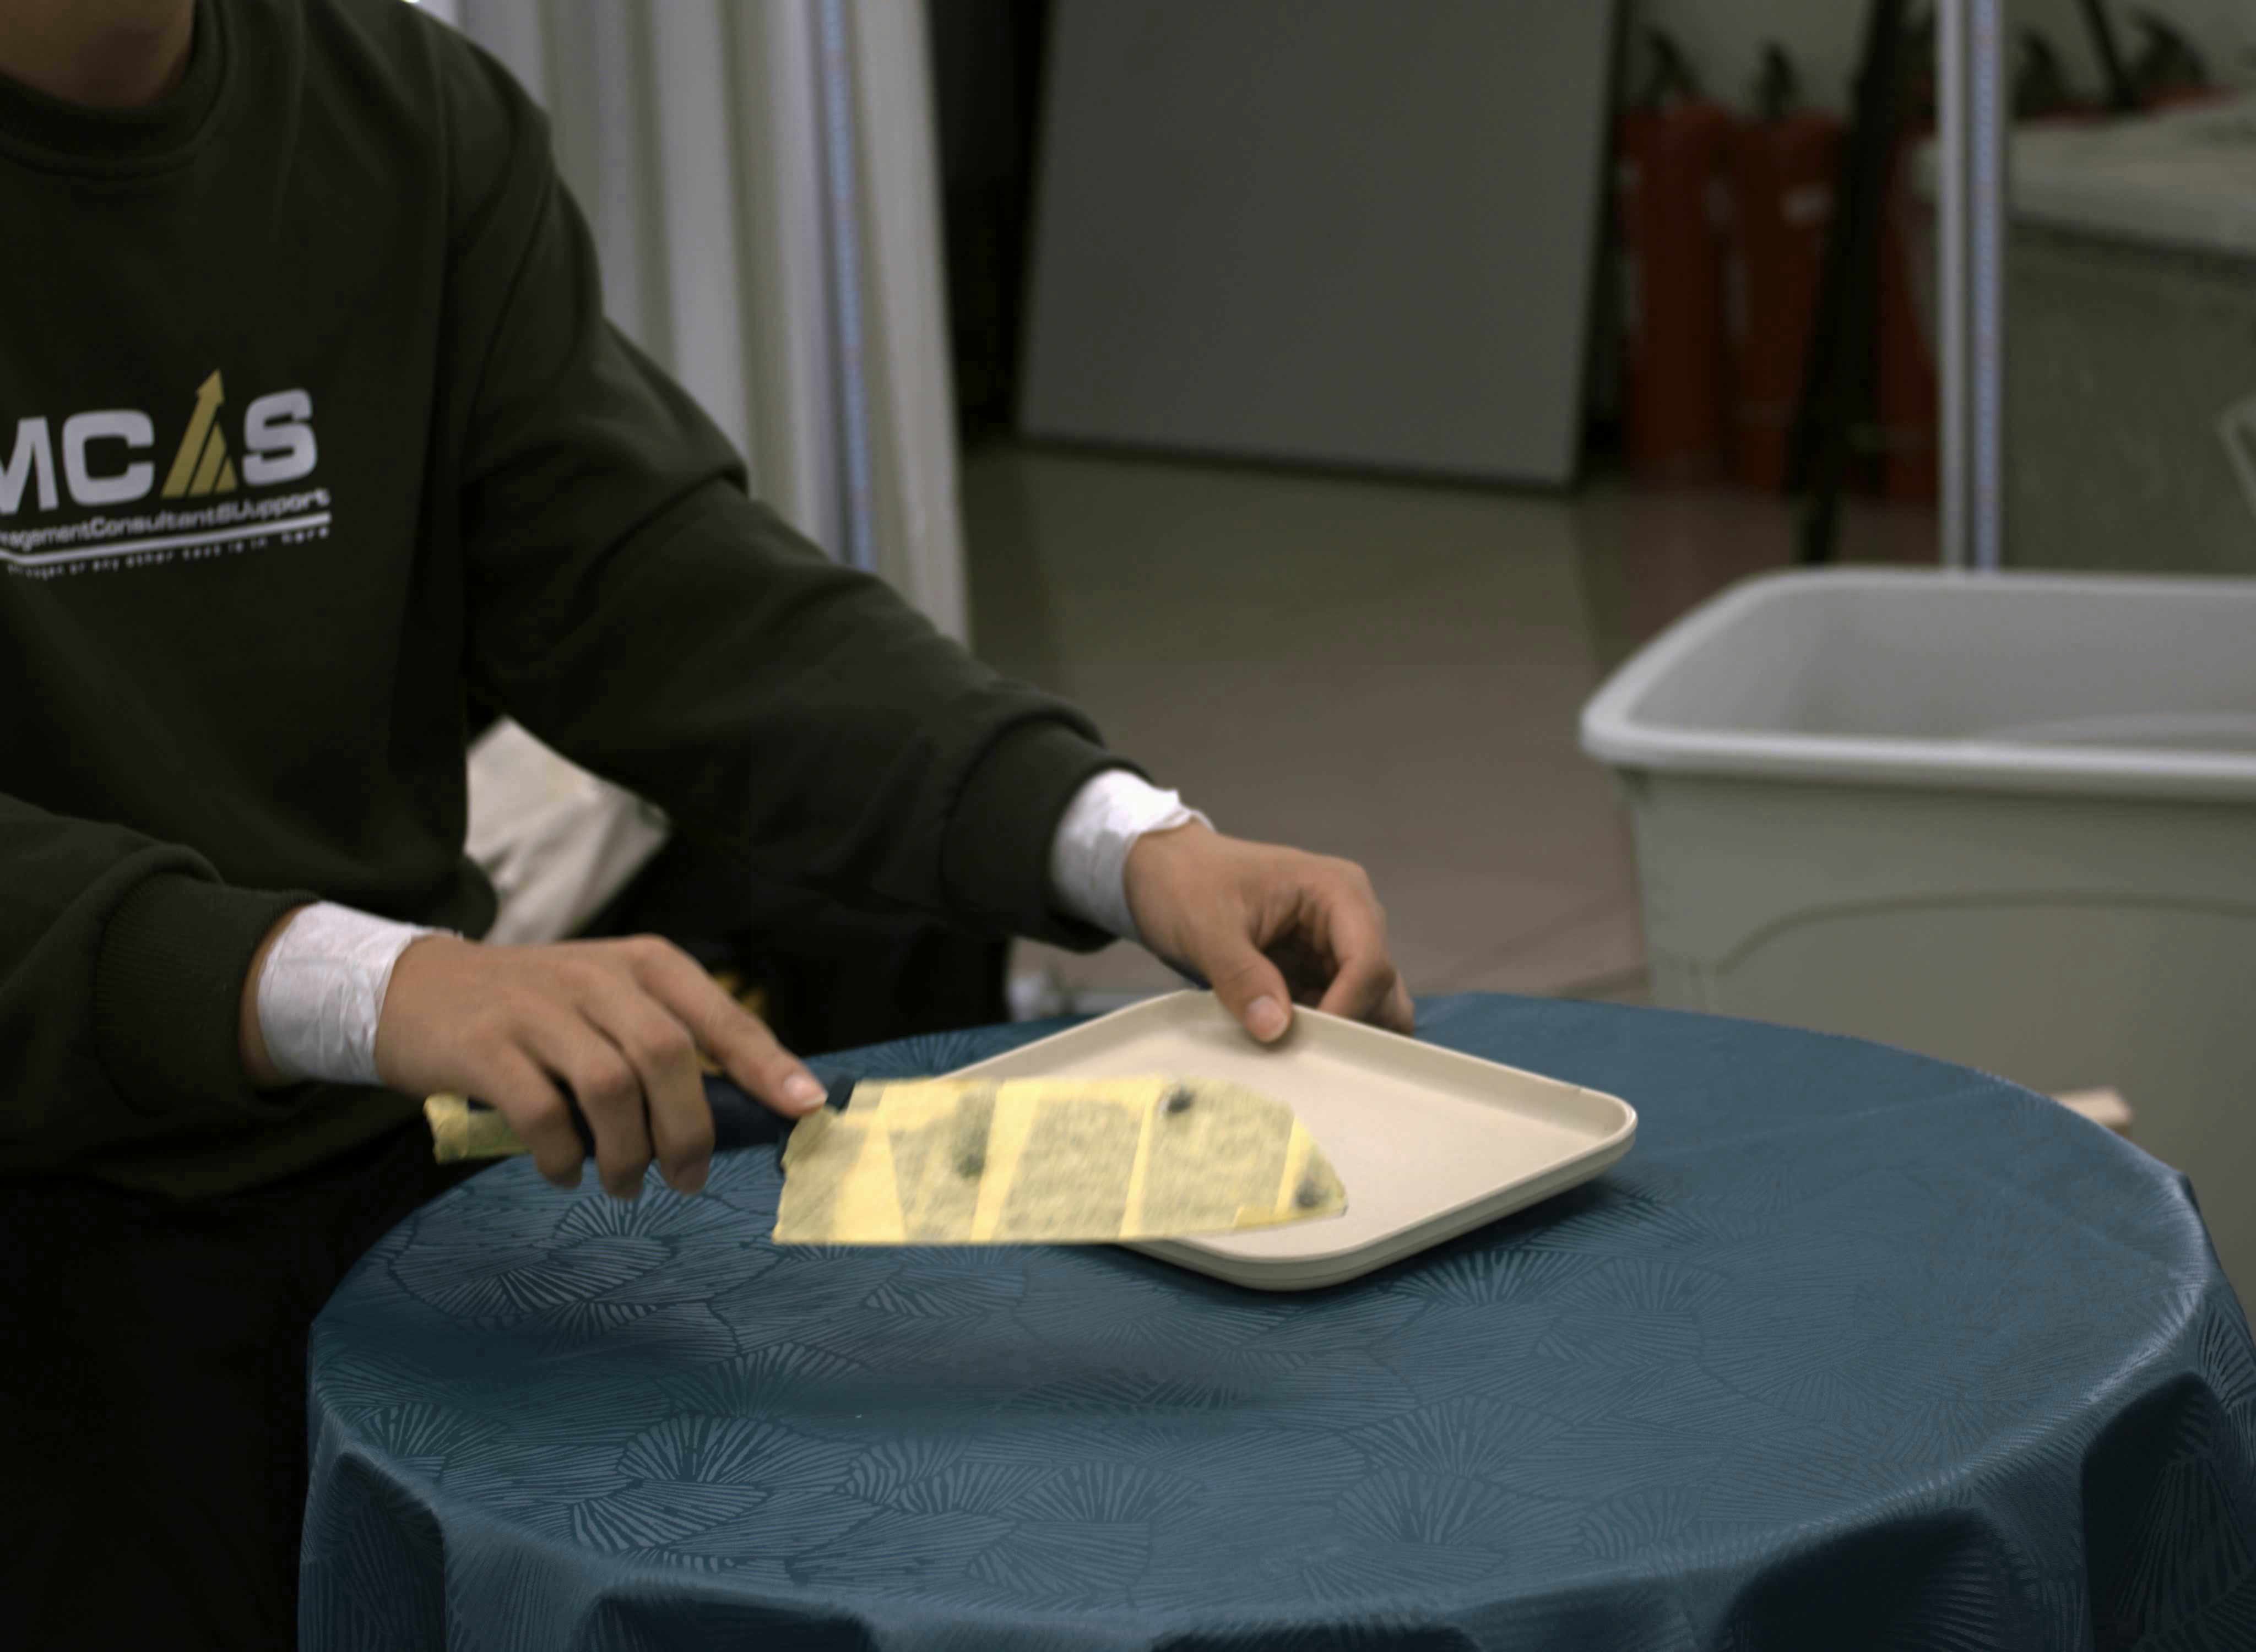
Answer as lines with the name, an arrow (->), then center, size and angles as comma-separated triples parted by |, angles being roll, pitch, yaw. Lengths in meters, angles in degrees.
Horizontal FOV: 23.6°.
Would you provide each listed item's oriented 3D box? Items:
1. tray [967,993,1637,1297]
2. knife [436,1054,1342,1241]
tray -> 0.039, 0.104, 1.777 | 0.168, 0.017, 0.242 | -20, 21, -35
knife -> -0.075, 0.097, 1.618 | 0.288, 0.027, 0.081 | -2, 37, 16
